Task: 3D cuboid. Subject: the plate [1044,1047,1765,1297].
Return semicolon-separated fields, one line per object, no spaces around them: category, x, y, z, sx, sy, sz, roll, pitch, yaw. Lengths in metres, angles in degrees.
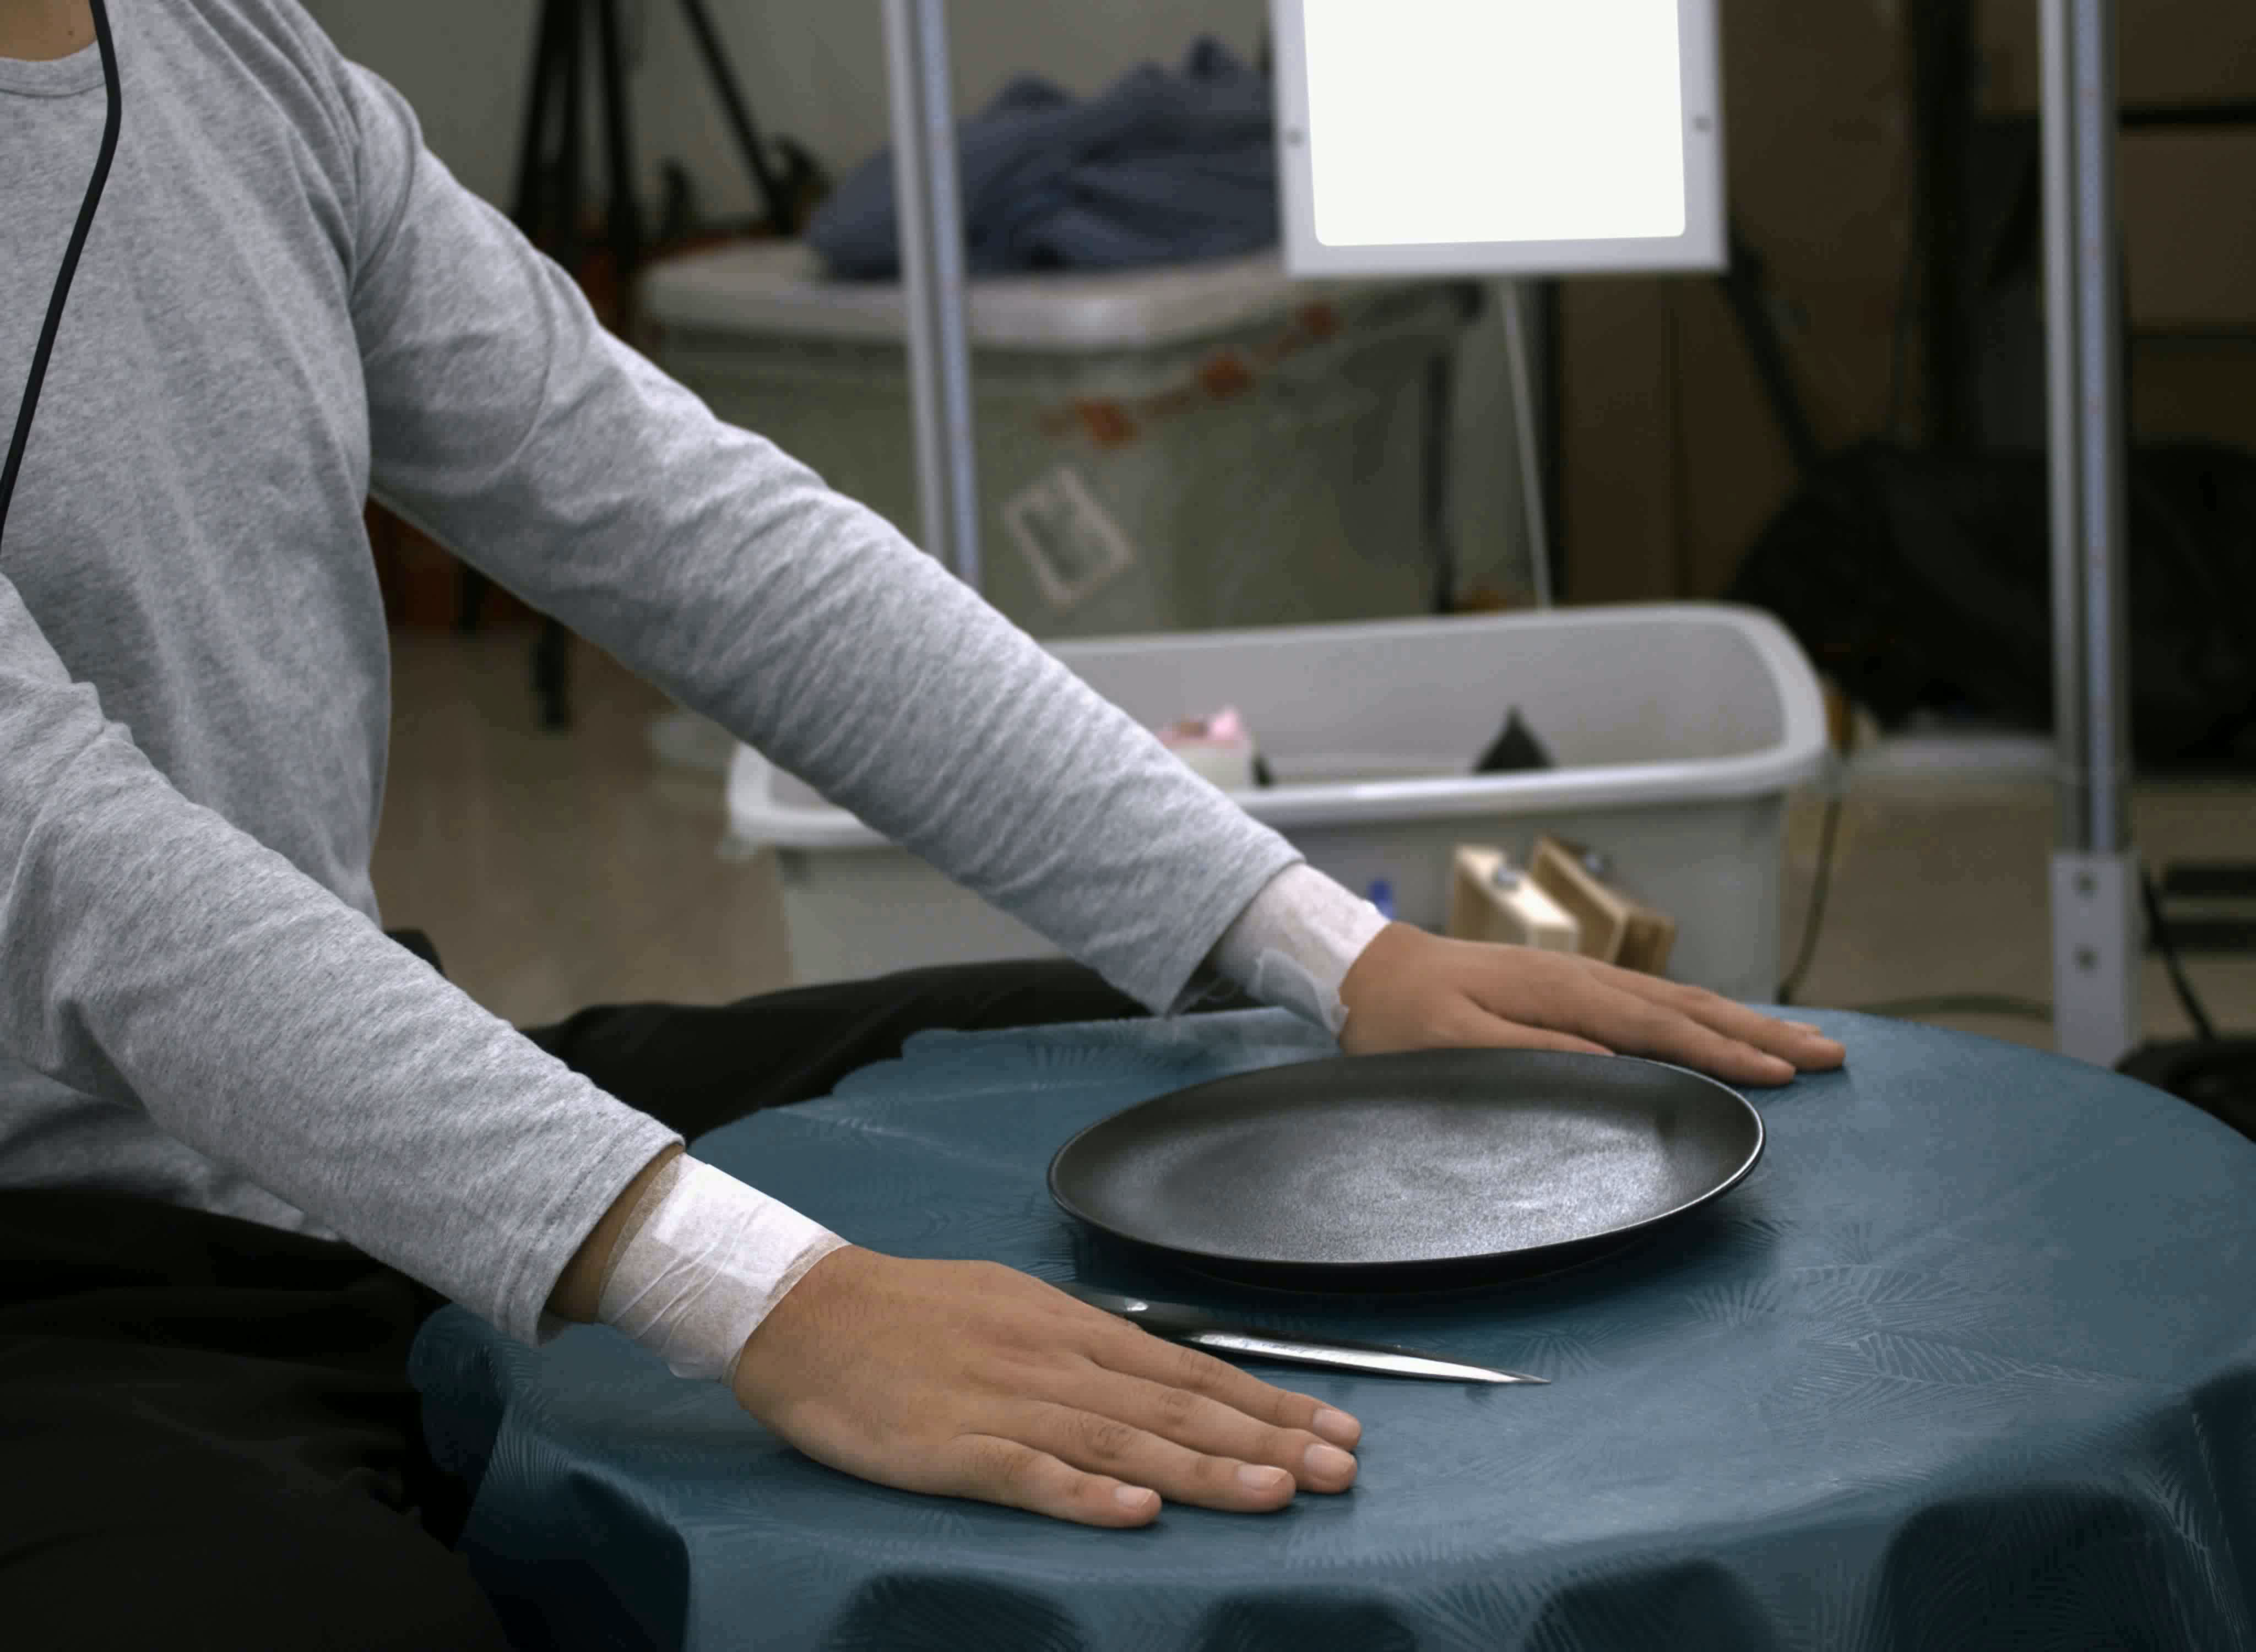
plate;0.094;0.119;1.853;0.244;0.023;0.244;-5;14;0

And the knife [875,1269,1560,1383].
knife;0.024;0.161;1.733;0.242;0.016;0.024;5;17;27
